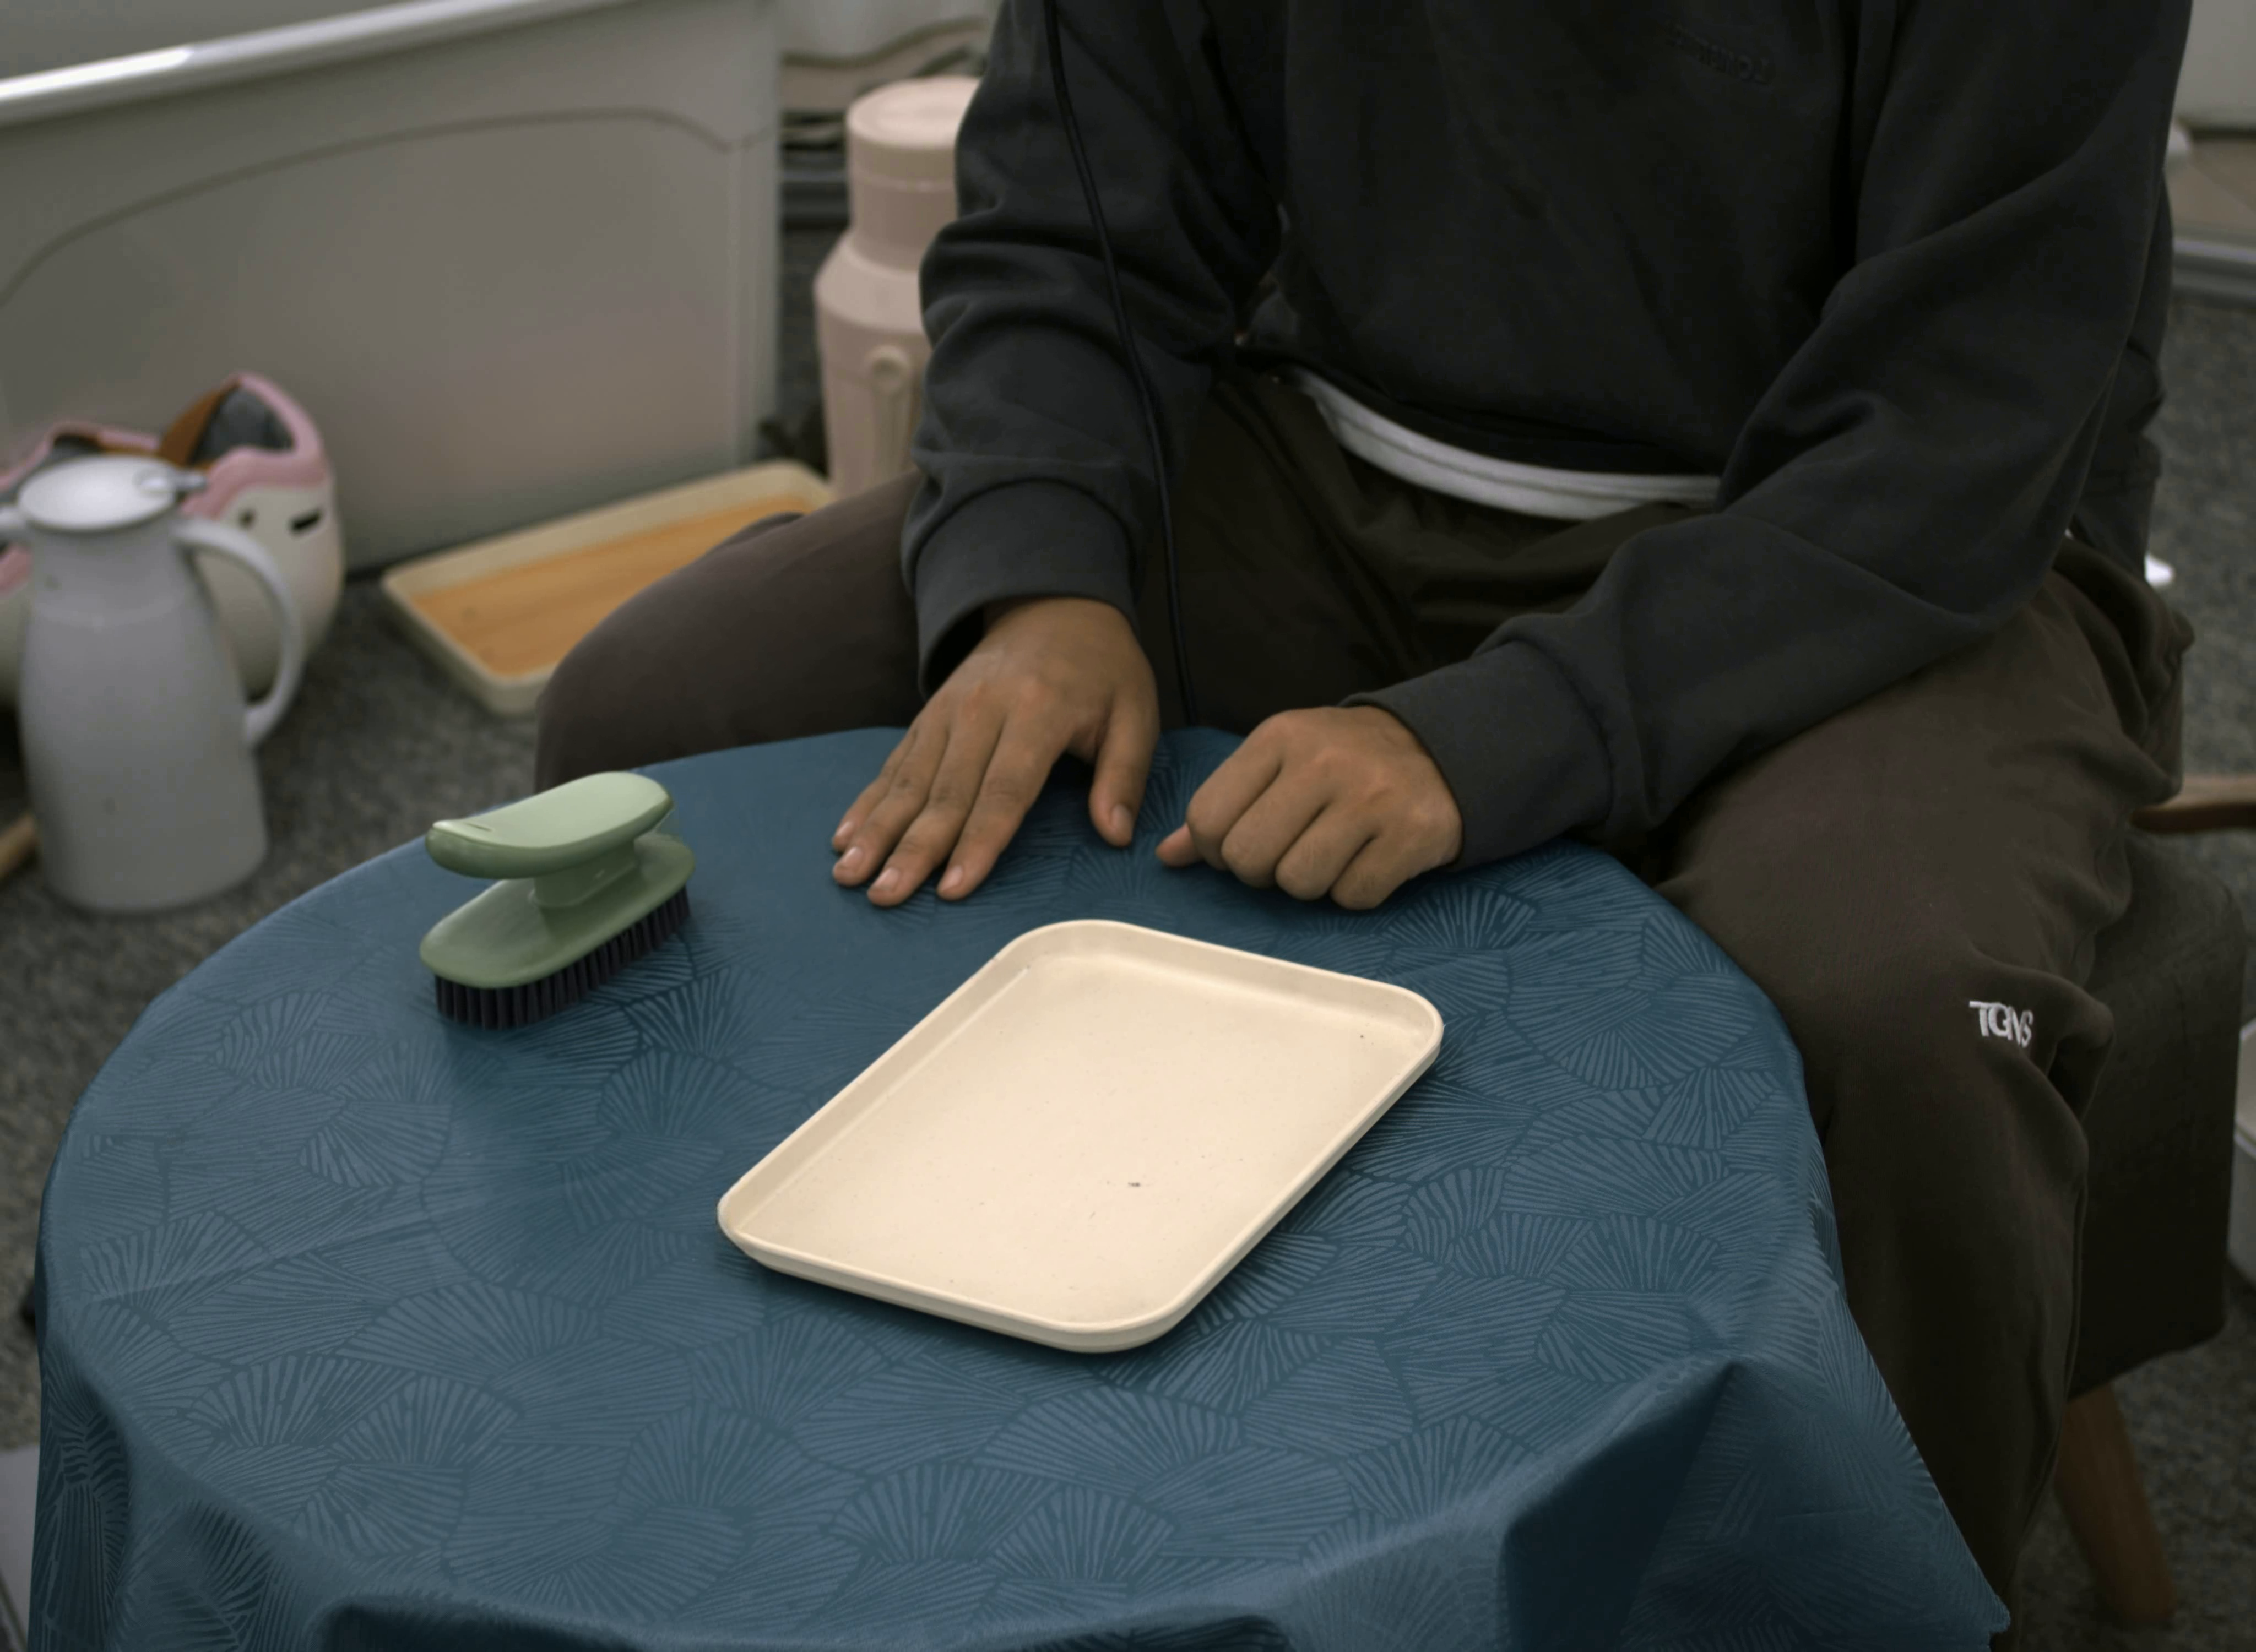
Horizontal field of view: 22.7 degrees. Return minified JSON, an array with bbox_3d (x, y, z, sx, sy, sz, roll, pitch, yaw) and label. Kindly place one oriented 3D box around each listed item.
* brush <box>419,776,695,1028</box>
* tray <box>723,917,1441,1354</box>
[{"bbox_3d":[-0.205,0.026,2.011,0.059,0.075,0.124,15,18,30],"label":"brush"},{"bbox_3d":[-0.012,0.102,1.884,0.170,0.017,0.243,13,31,27],"label":"tray"}]
